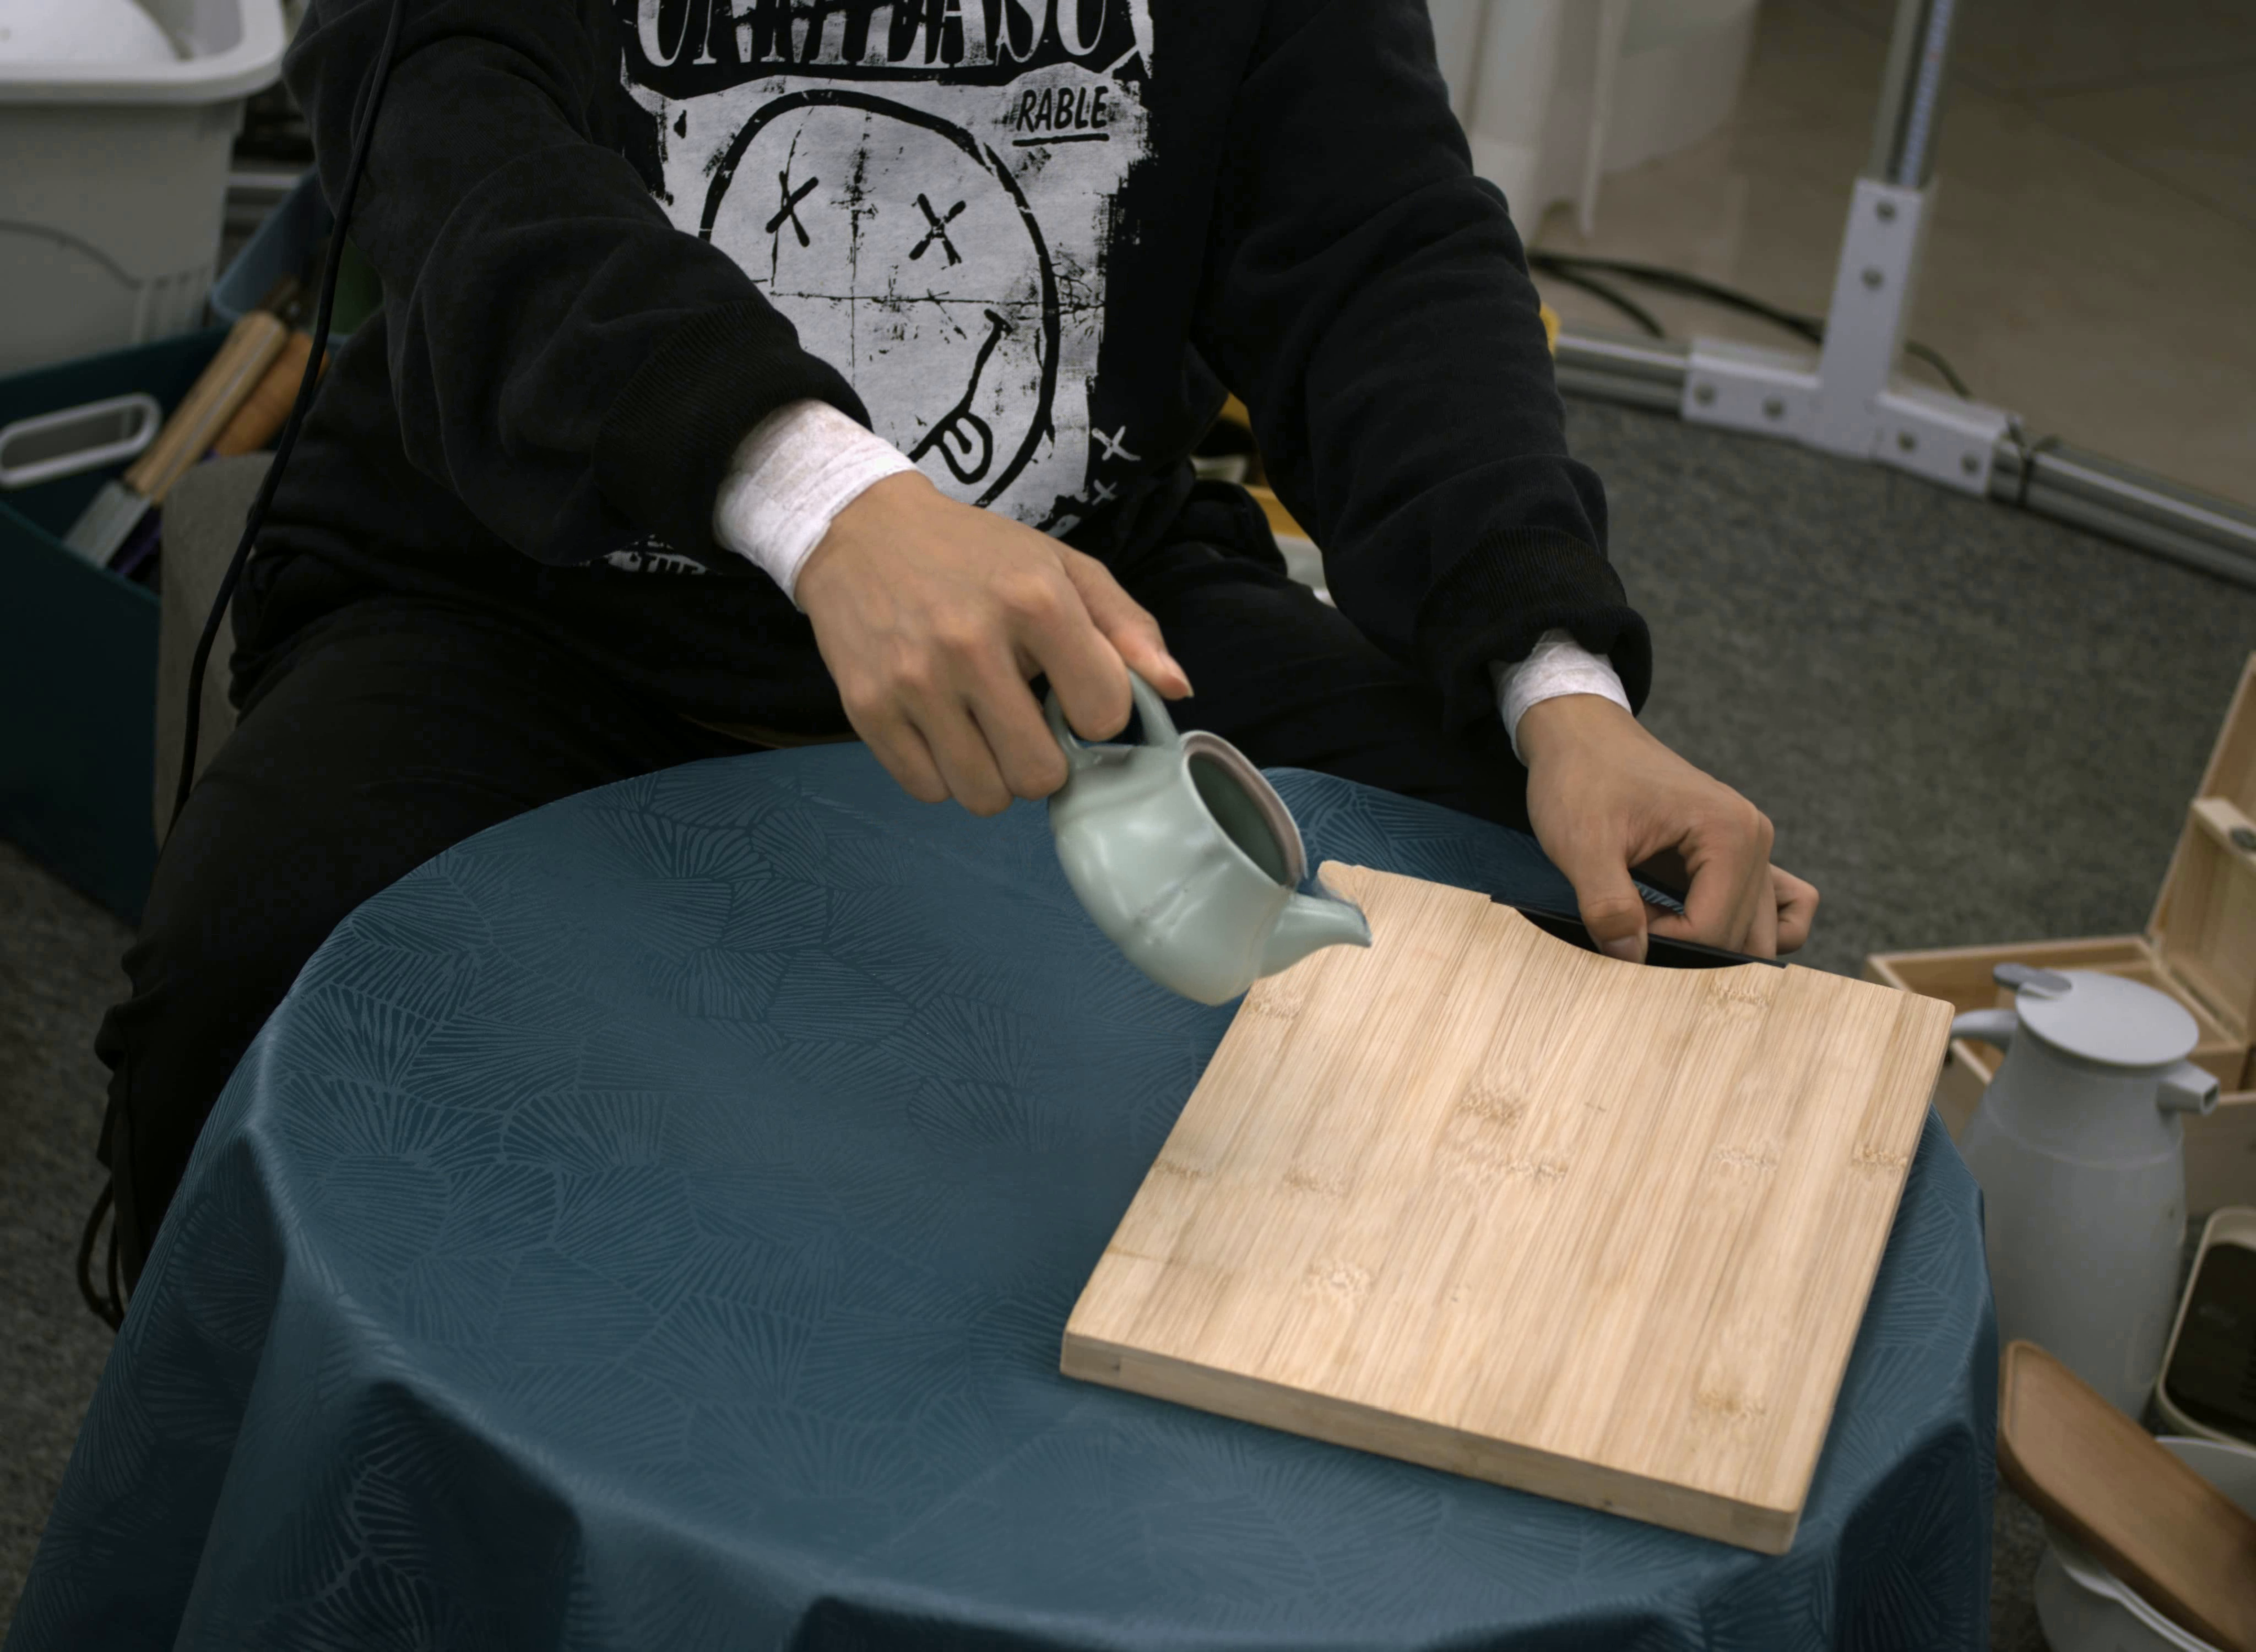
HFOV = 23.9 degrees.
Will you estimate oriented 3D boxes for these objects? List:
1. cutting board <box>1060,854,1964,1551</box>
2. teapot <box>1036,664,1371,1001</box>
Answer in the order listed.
[{"bbox_3d":[0.140,0.118,1.819,0.251,0.023,0.349,12,29,11],"label":"cutting board"},{"bbox_3d":[0.015,0.005,1.744,0.136,0.061,0.096,46,24,-17],"label":"teapot"}]
